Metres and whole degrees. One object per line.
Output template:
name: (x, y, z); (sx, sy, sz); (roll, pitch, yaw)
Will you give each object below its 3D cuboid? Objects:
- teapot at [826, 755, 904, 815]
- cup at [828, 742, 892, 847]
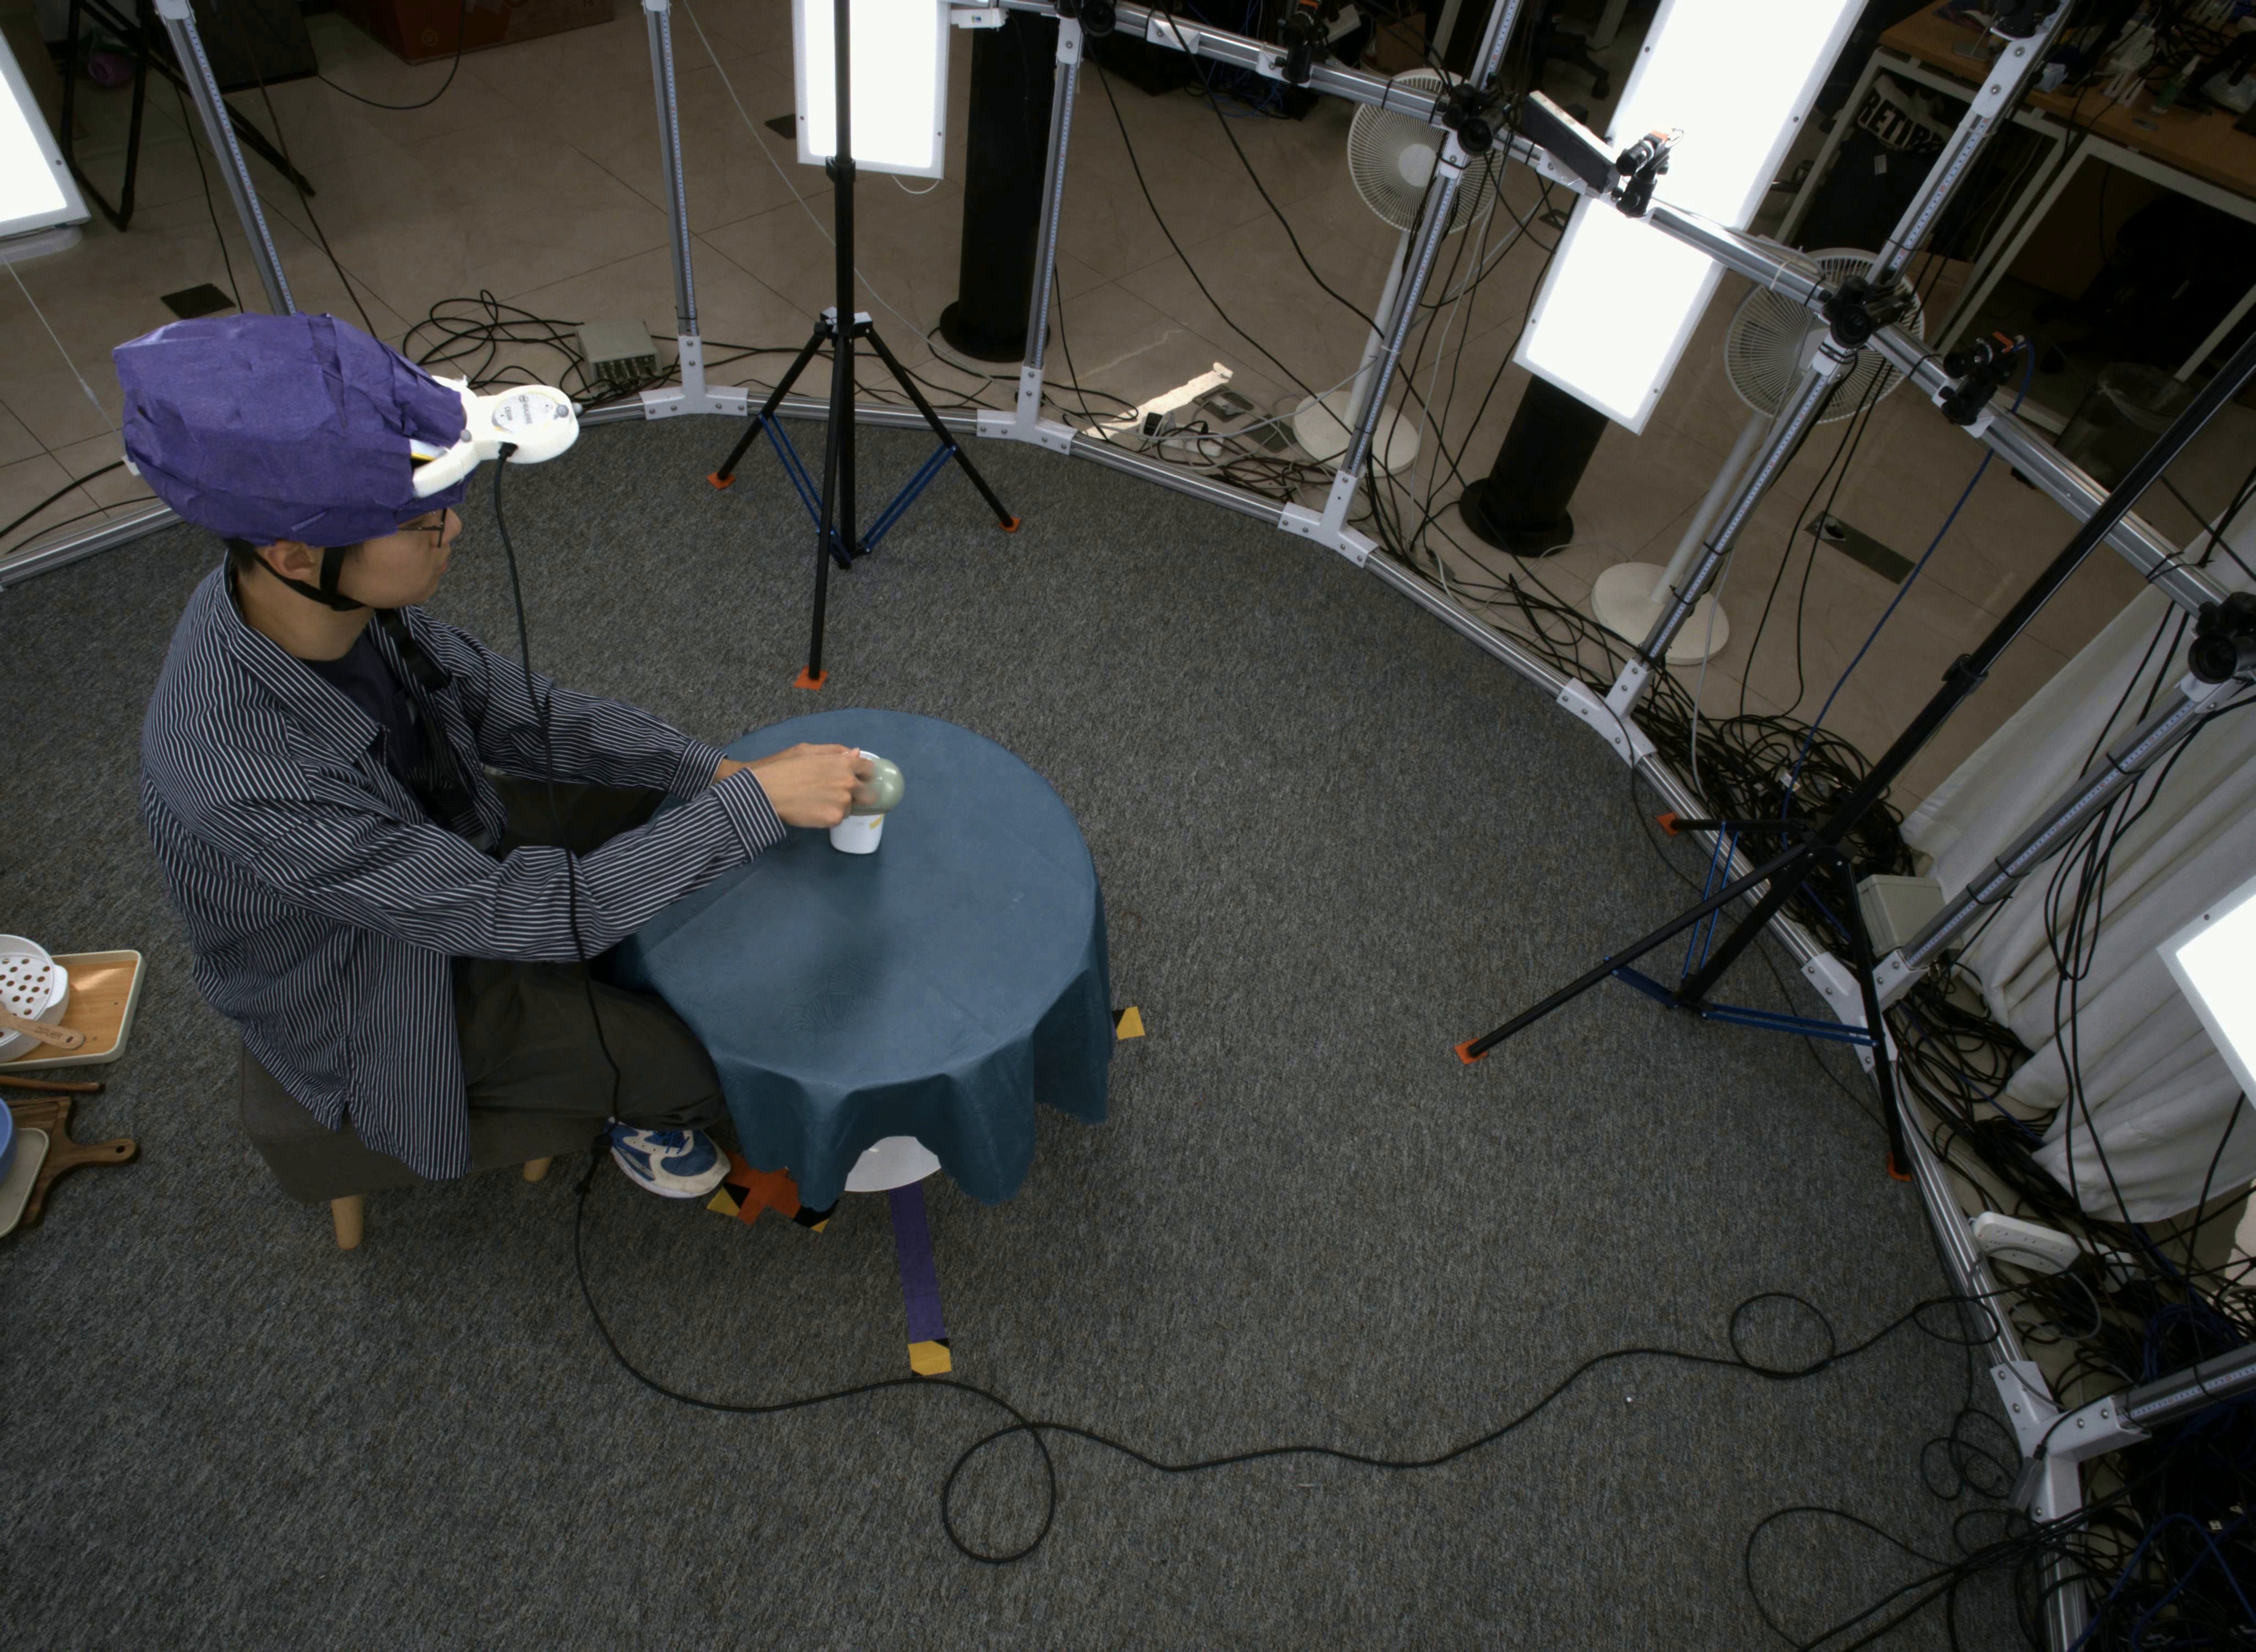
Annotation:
teapot: (-0.314, -0.048, 1.532); (0.090, 0.129, 0.061); (-4, 84, 6)
cup: (-0.350, -0.039, 1.700); (0.081, 0.128, 0.080); (6, 53, -7)
